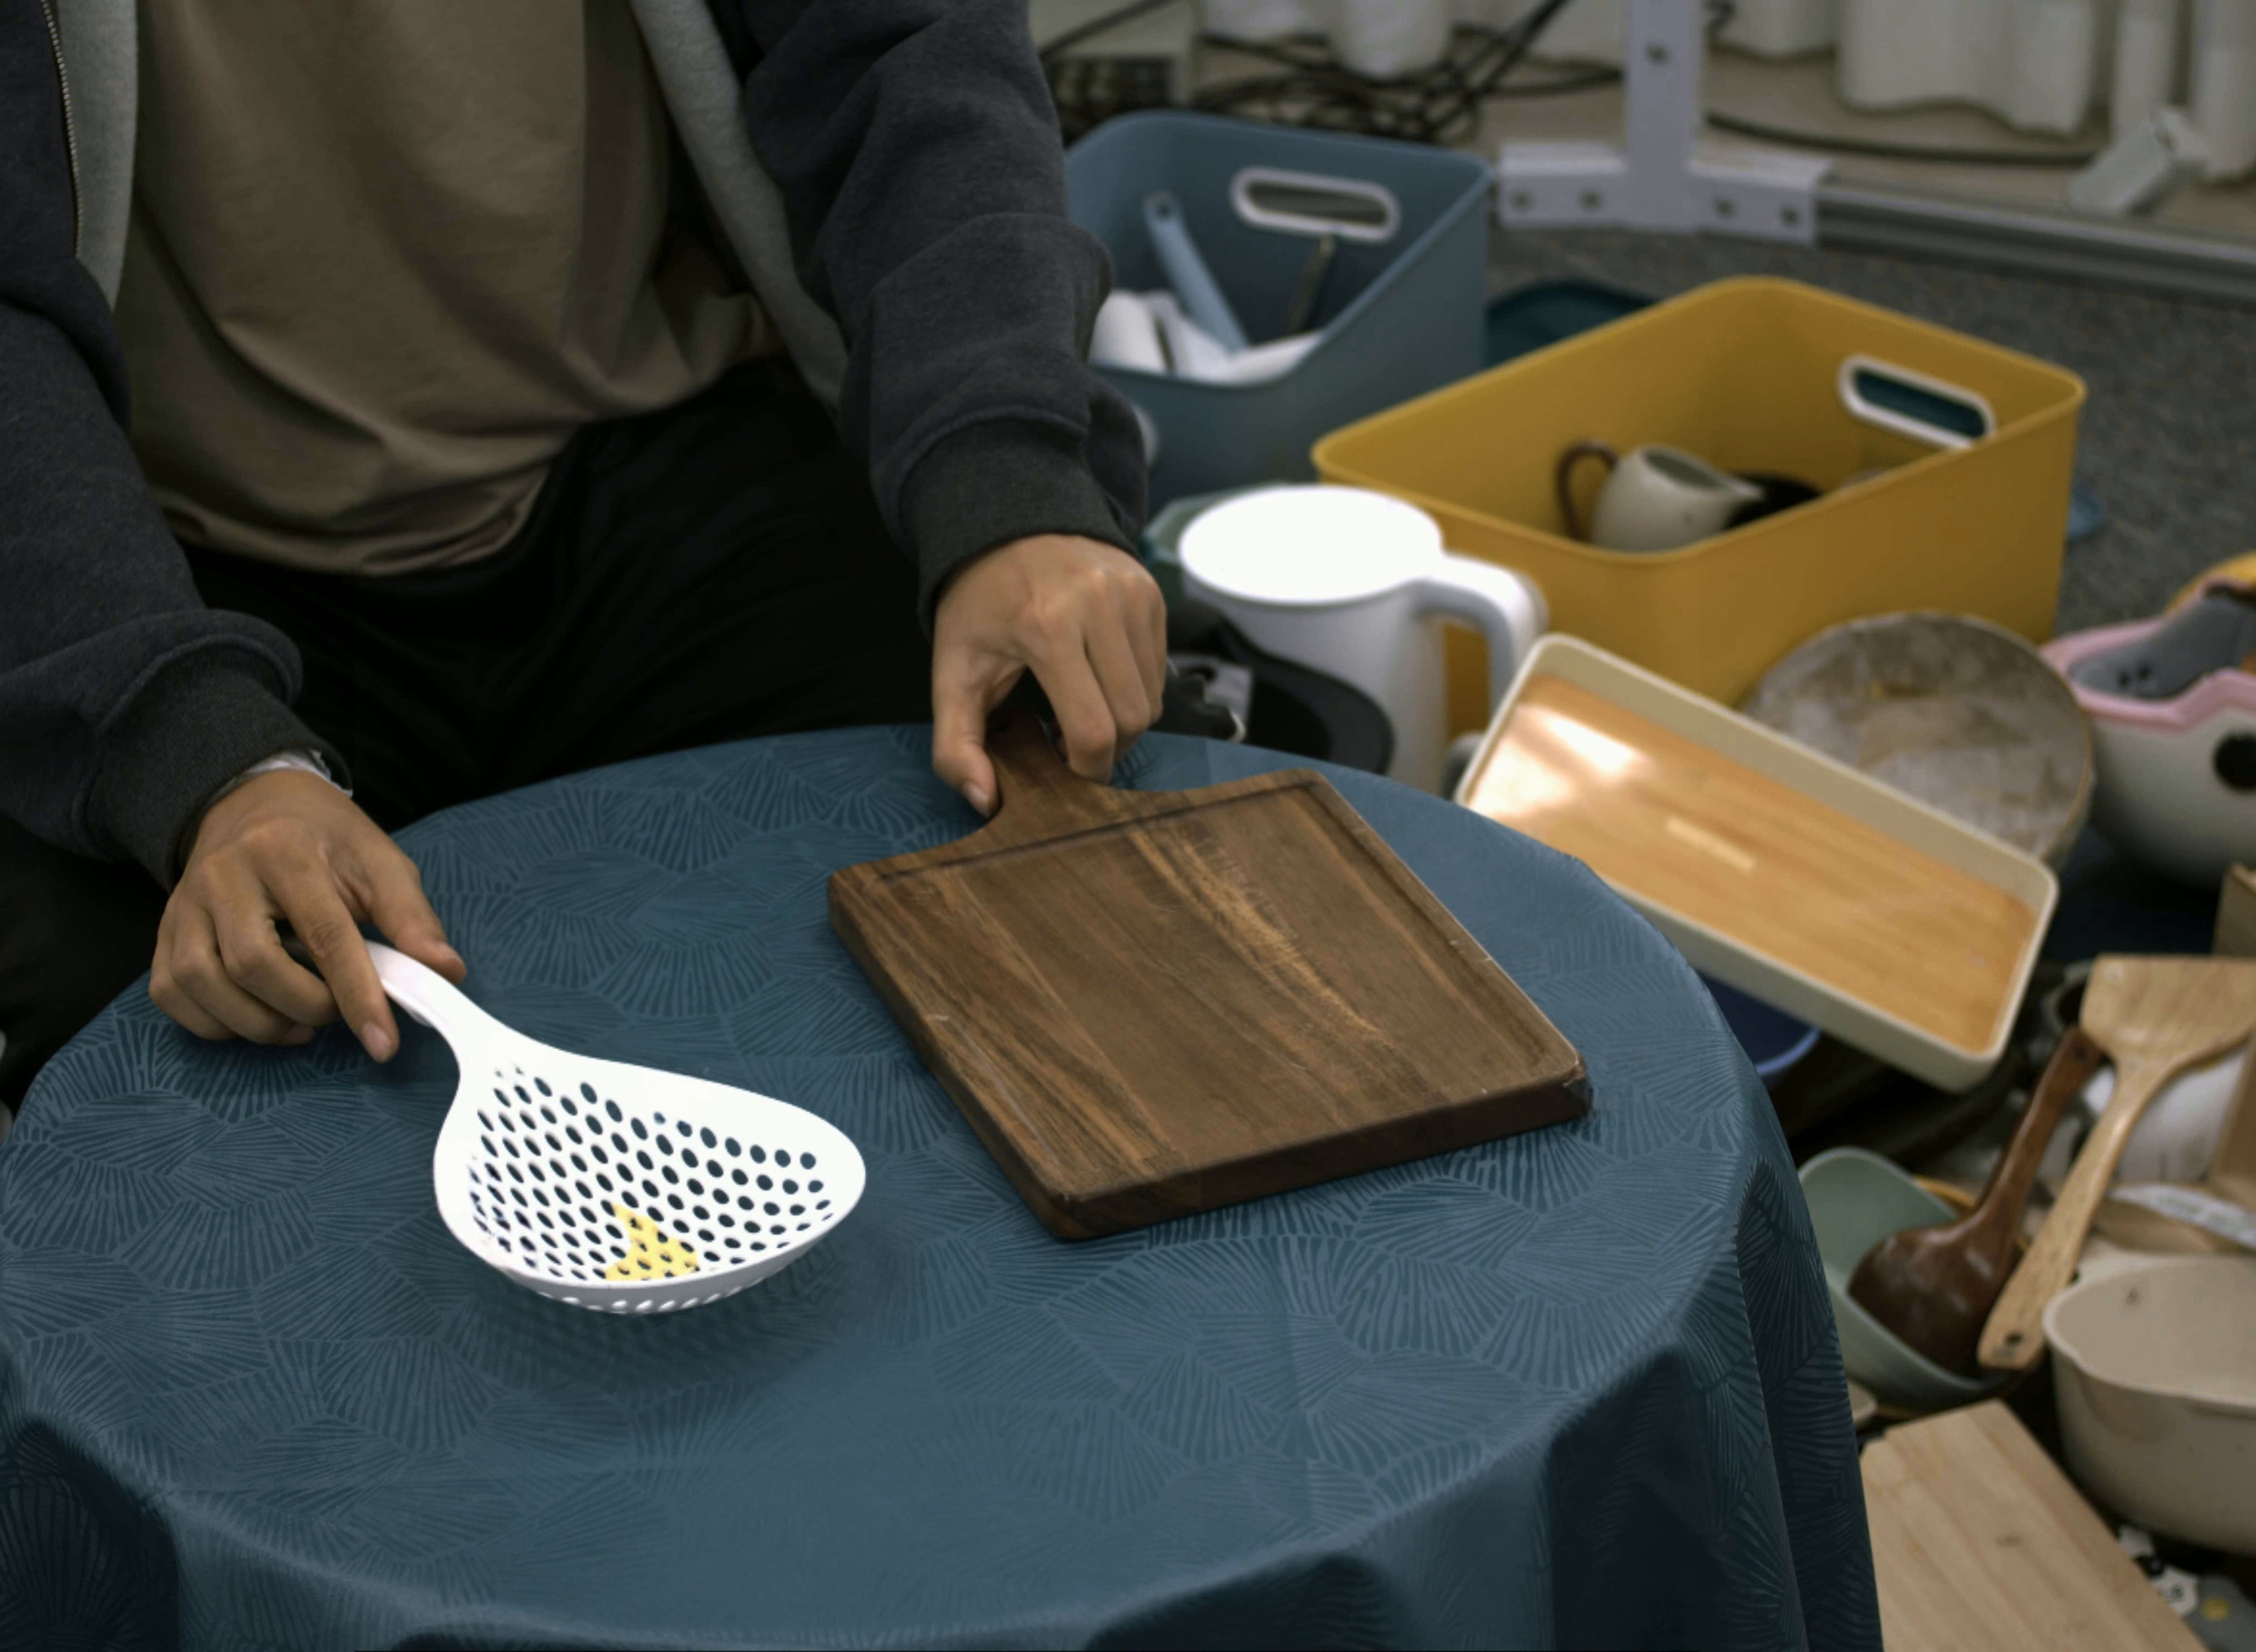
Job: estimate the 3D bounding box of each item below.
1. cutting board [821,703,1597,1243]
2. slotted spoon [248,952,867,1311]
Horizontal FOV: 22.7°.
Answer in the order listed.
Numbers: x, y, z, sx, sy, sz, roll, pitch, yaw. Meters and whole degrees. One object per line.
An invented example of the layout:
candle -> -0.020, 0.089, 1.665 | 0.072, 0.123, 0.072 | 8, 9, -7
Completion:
cutting board -> 0.006, 0.036, 2.004 | 0.201, 0.023, 0.355 | -12, 29, -18
slotted spoon -> -0.213, 0.090, 1.900 | 0.138, 0.050, 0.349 | -18, 31, -28
